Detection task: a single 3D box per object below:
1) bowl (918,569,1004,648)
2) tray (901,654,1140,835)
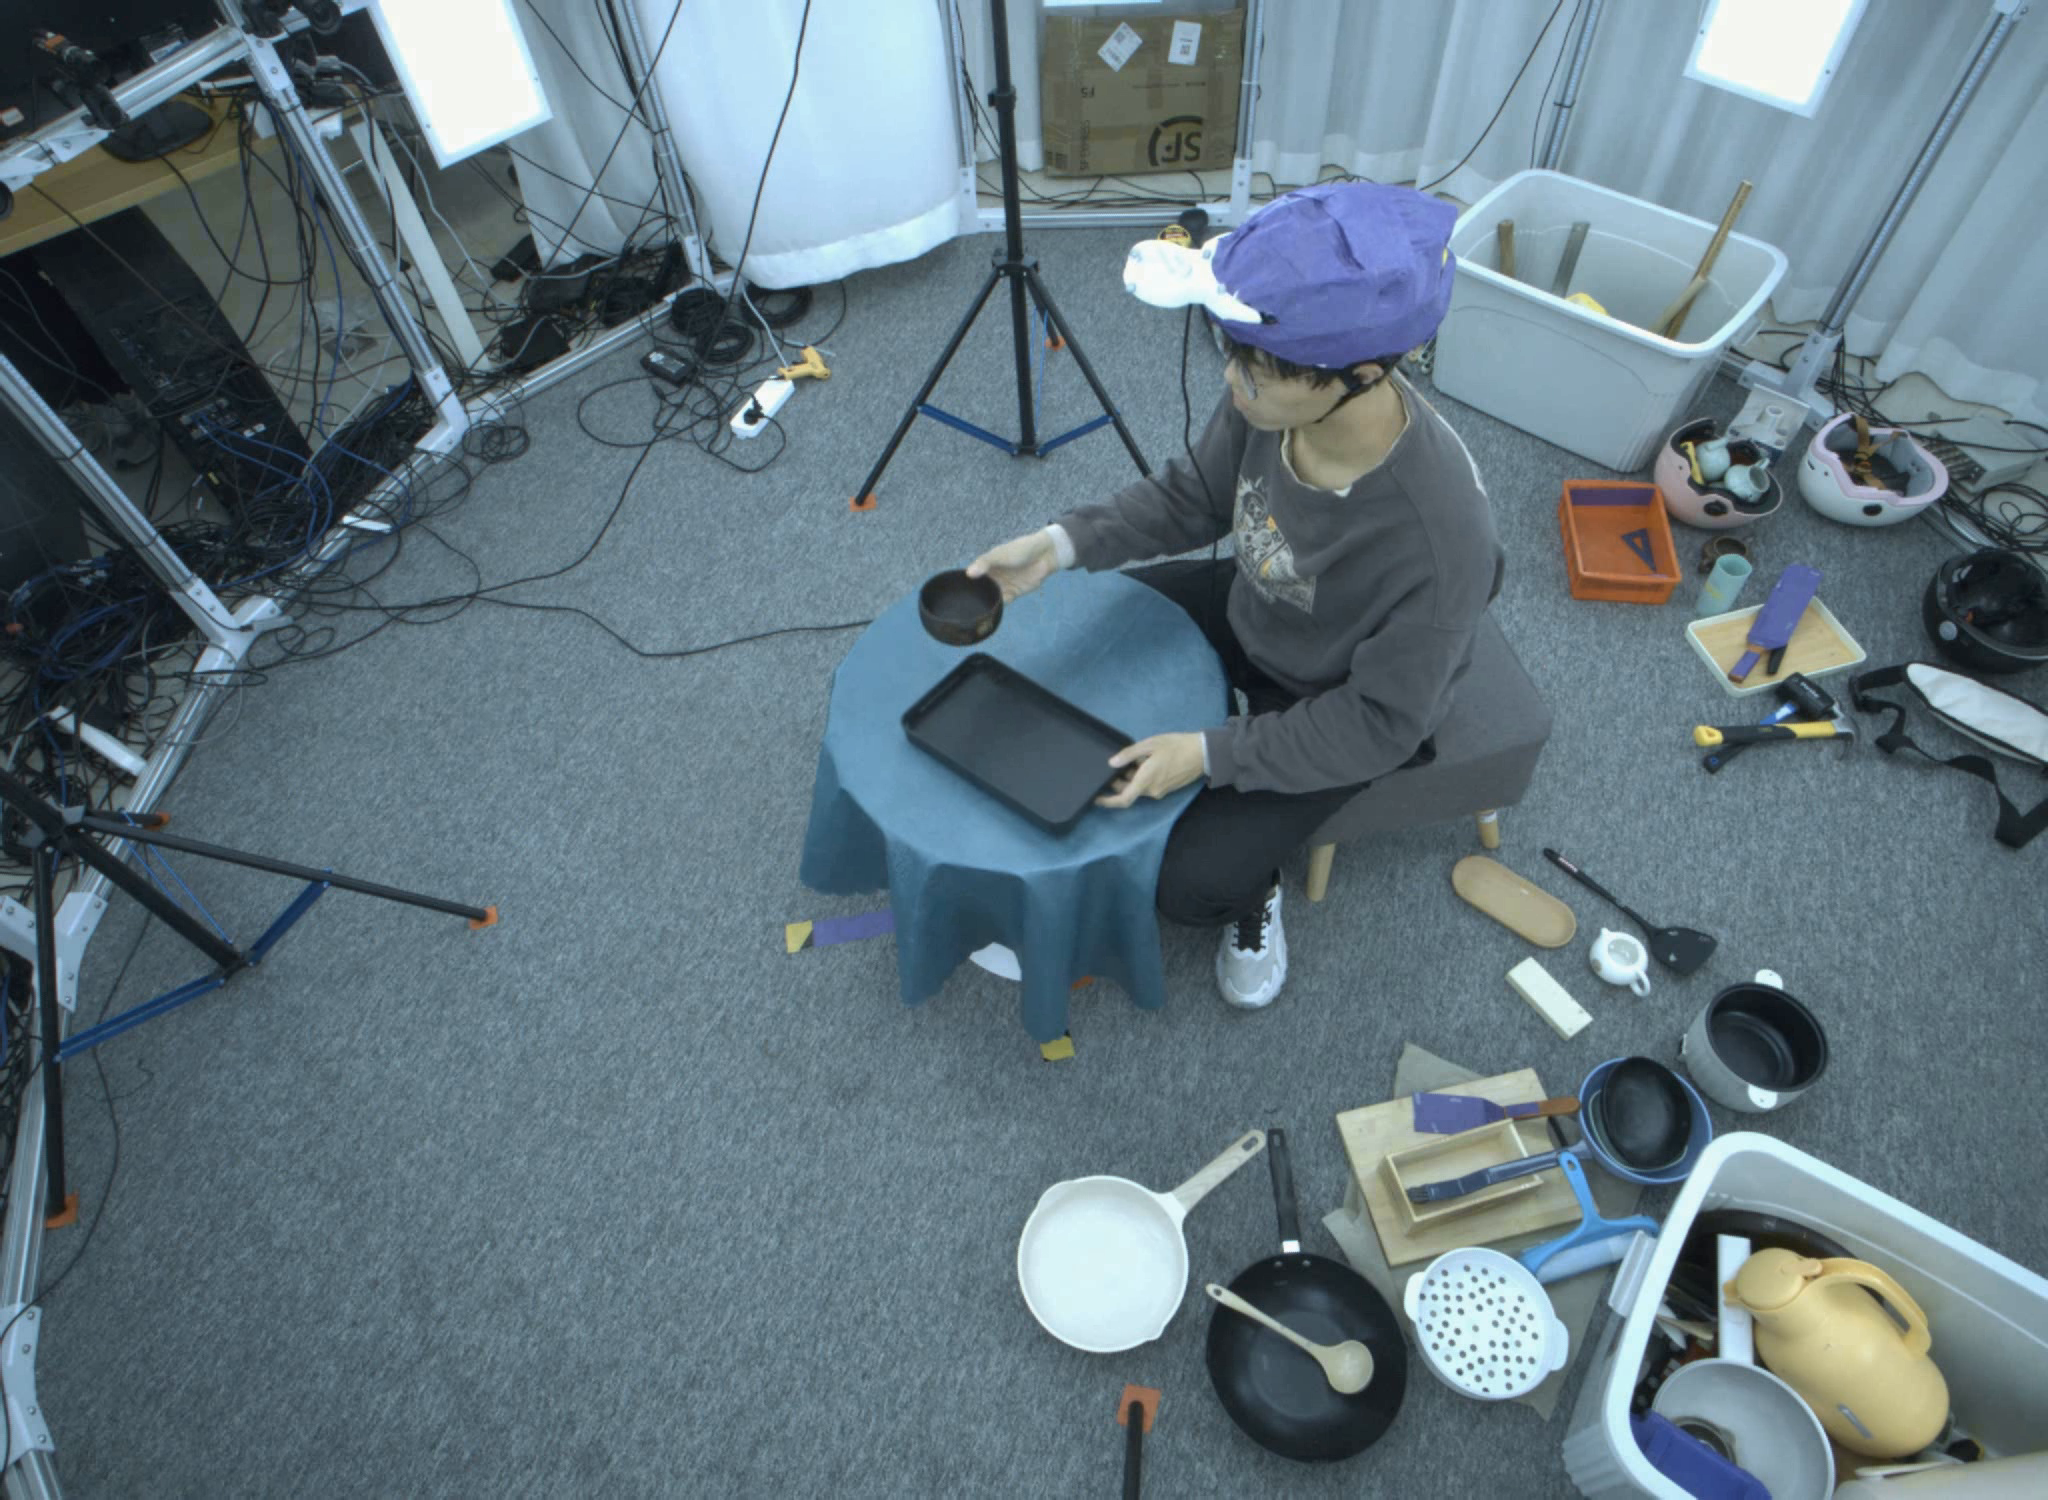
[{"bbox_3d":[-0.086,-0.186,1.684,0.118,0.070,0.117,2,48,-1],"label":"bowl"},{"bbox_3d":[-0.007,-0.013,1.763,0.312,0.037,0.185,30,59,25],"label":"tray"}]
